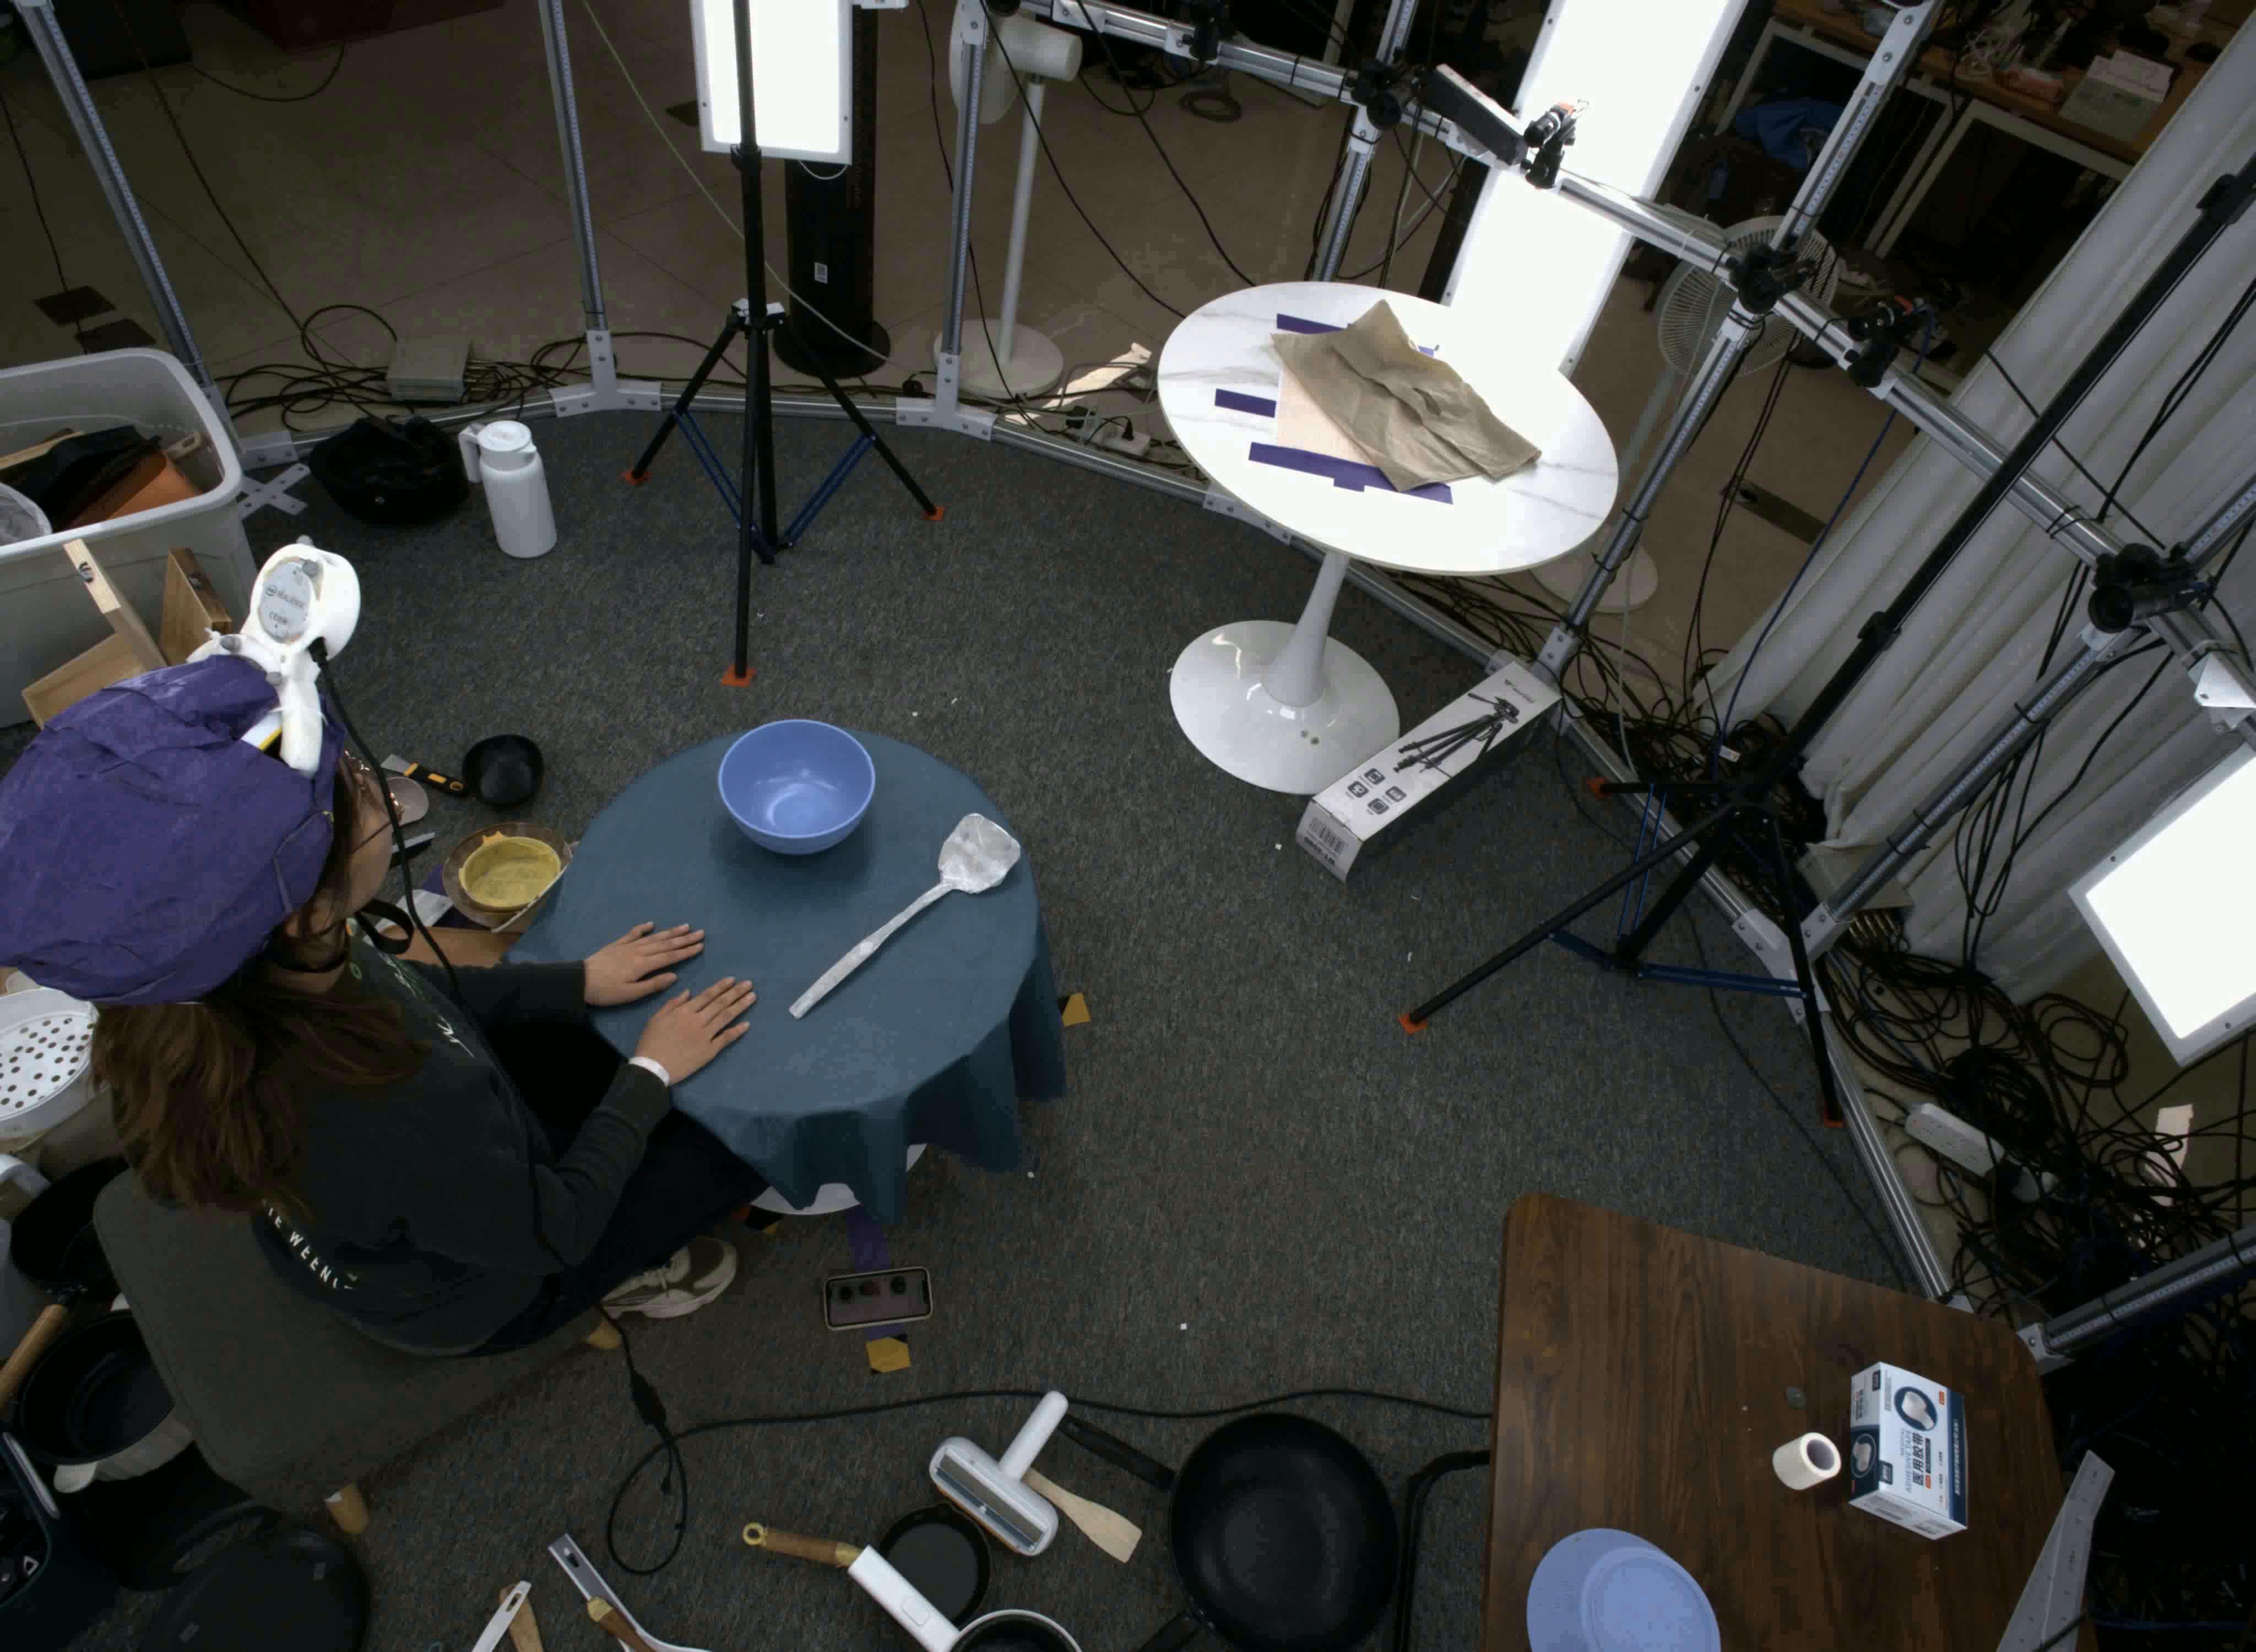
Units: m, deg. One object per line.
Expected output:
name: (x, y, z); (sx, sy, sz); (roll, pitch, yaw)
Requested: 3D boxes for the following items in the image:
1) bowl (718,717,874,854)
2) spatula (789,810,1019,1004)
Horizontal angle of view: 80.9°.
bowl: (-0.432, -0.038, 1.693); (0.196, 0.097, 0.193); (9, 51, -9)
spatula: (-0.287, 0.108, 1.659); (0.097, 0.045, 0.365); (39, 54, 14)
